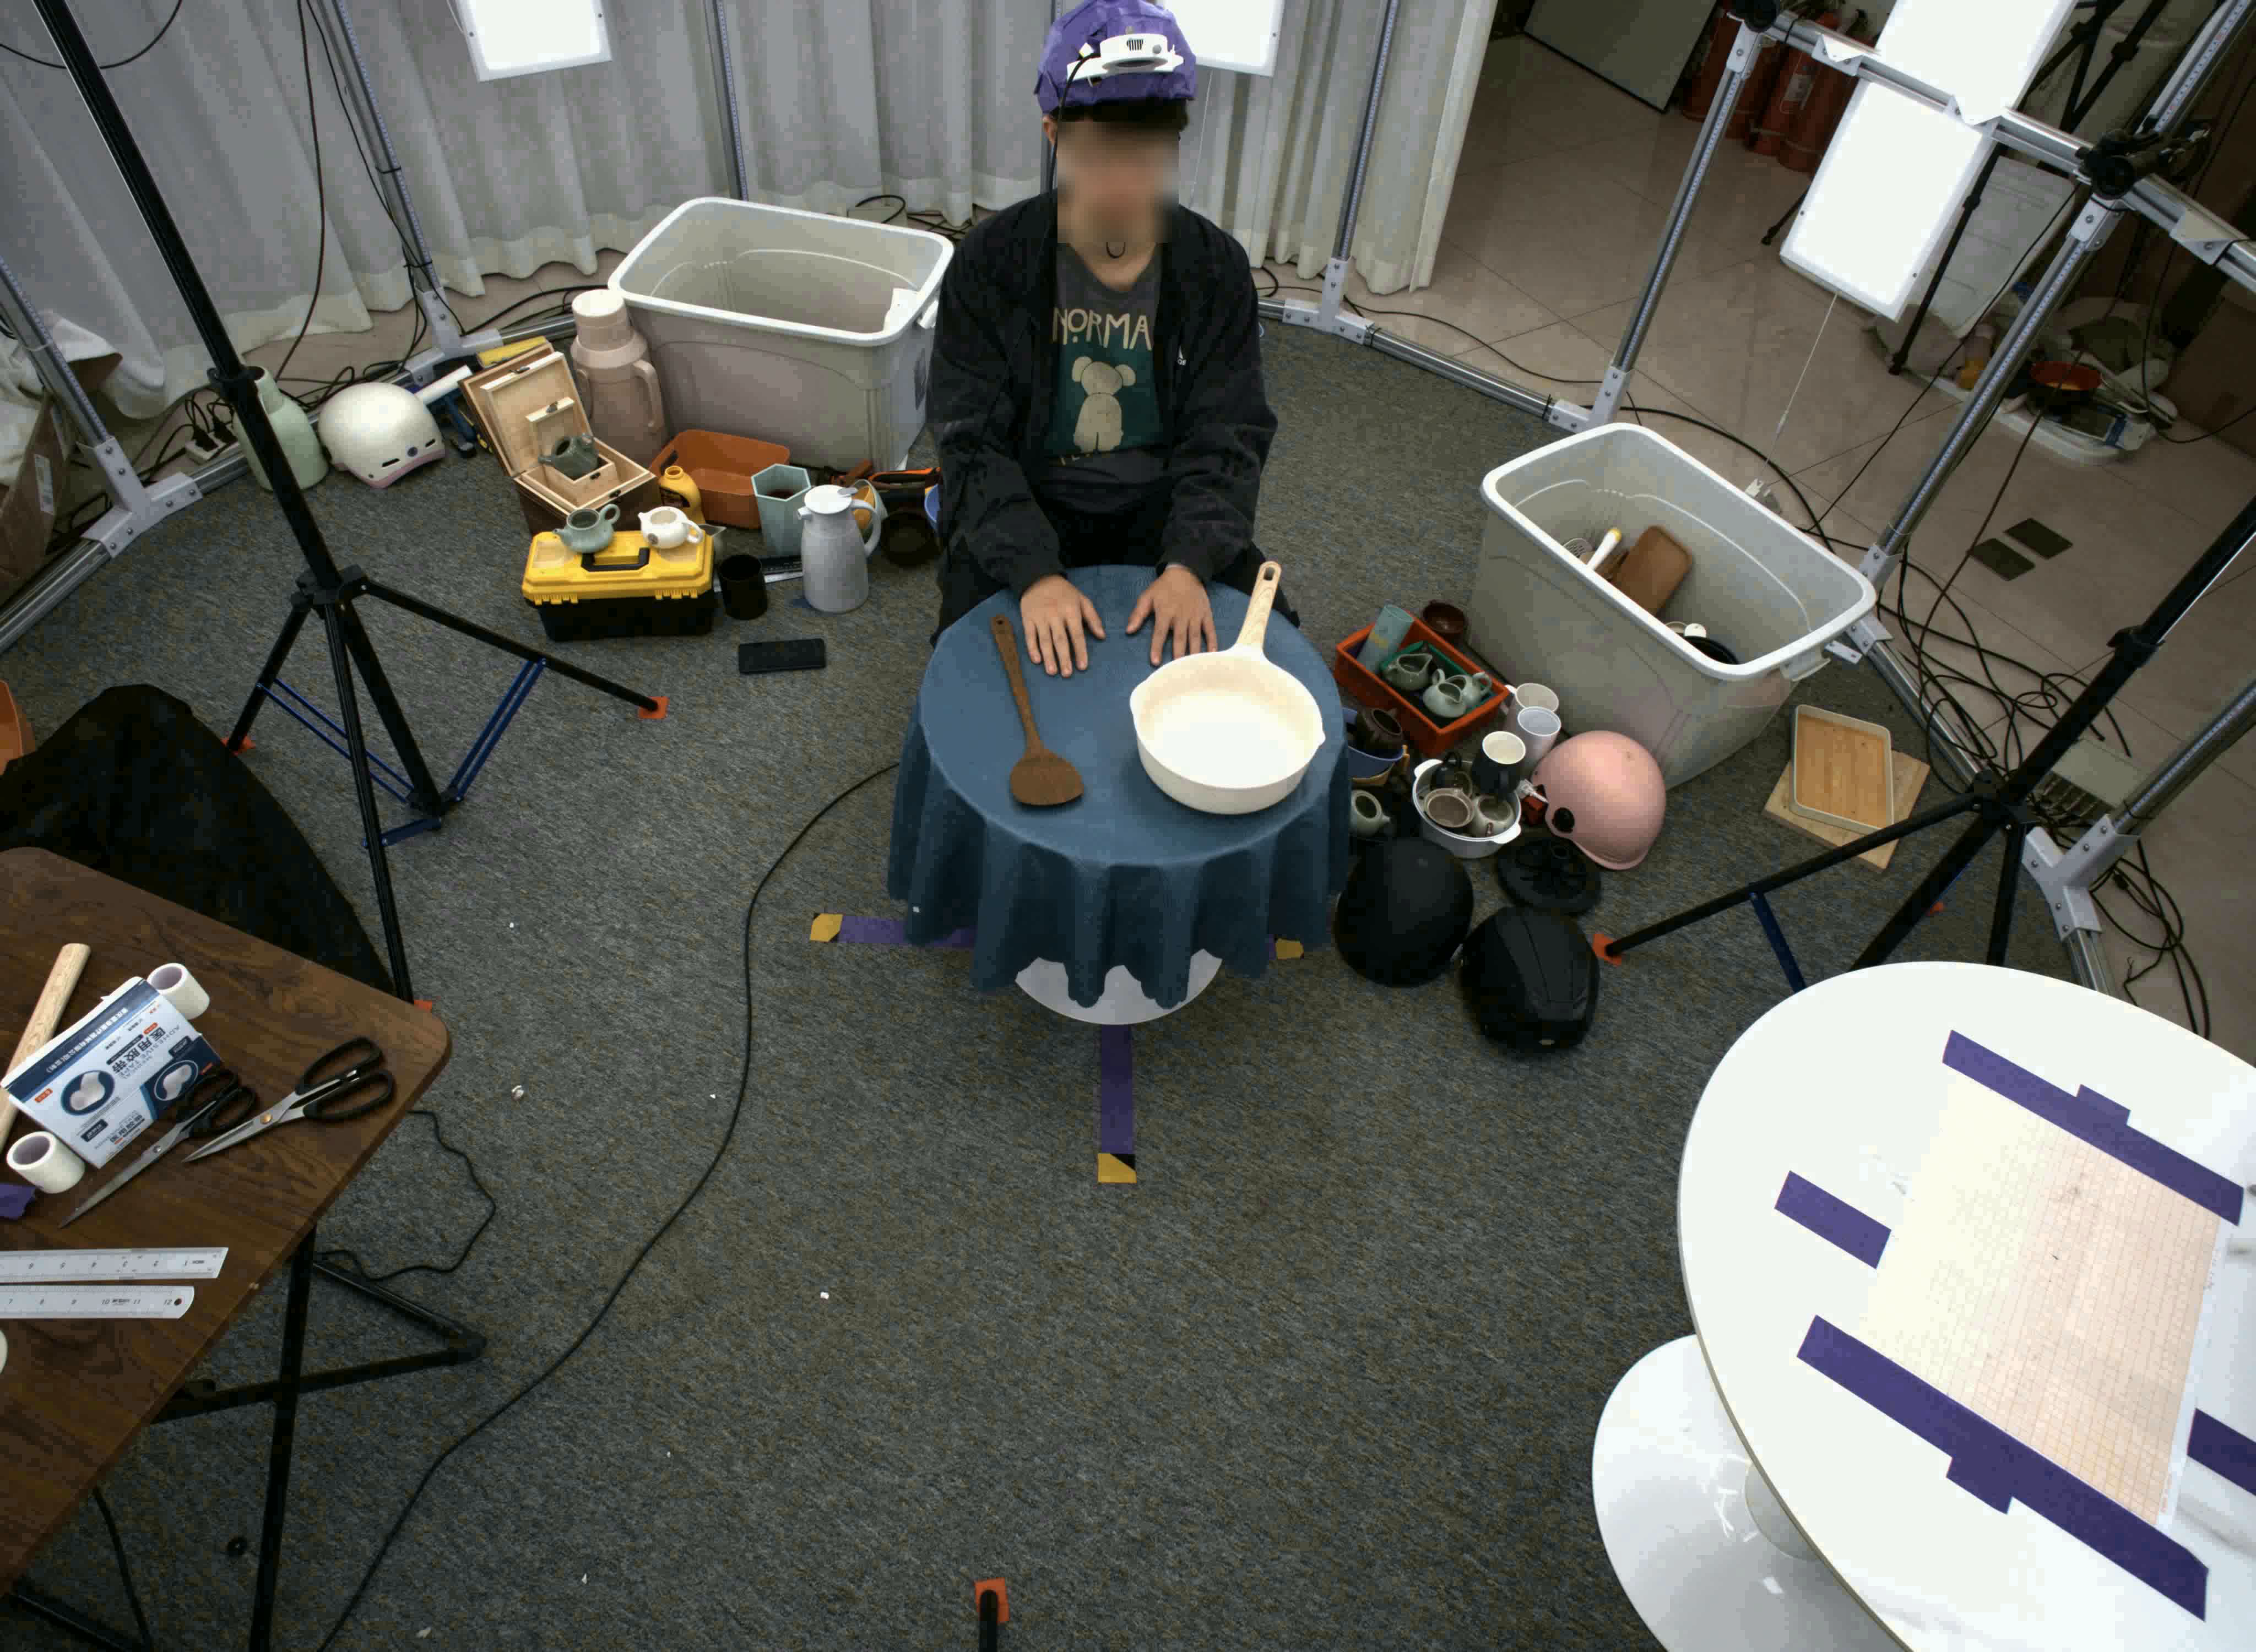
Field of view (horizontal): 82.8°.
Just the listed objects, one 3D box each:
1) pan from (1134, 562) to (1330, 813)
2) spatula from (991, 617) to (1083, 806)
[{"bbox_3d":[0.159,-0.193,1.778,0.264,0.099,0.444,11,49,9],"label":"pan"},{"bbox_3d":[-0.146,-0.171,1.797,0.096,0.015,0.395,-8,49,-11],"label":"spatula"}]
